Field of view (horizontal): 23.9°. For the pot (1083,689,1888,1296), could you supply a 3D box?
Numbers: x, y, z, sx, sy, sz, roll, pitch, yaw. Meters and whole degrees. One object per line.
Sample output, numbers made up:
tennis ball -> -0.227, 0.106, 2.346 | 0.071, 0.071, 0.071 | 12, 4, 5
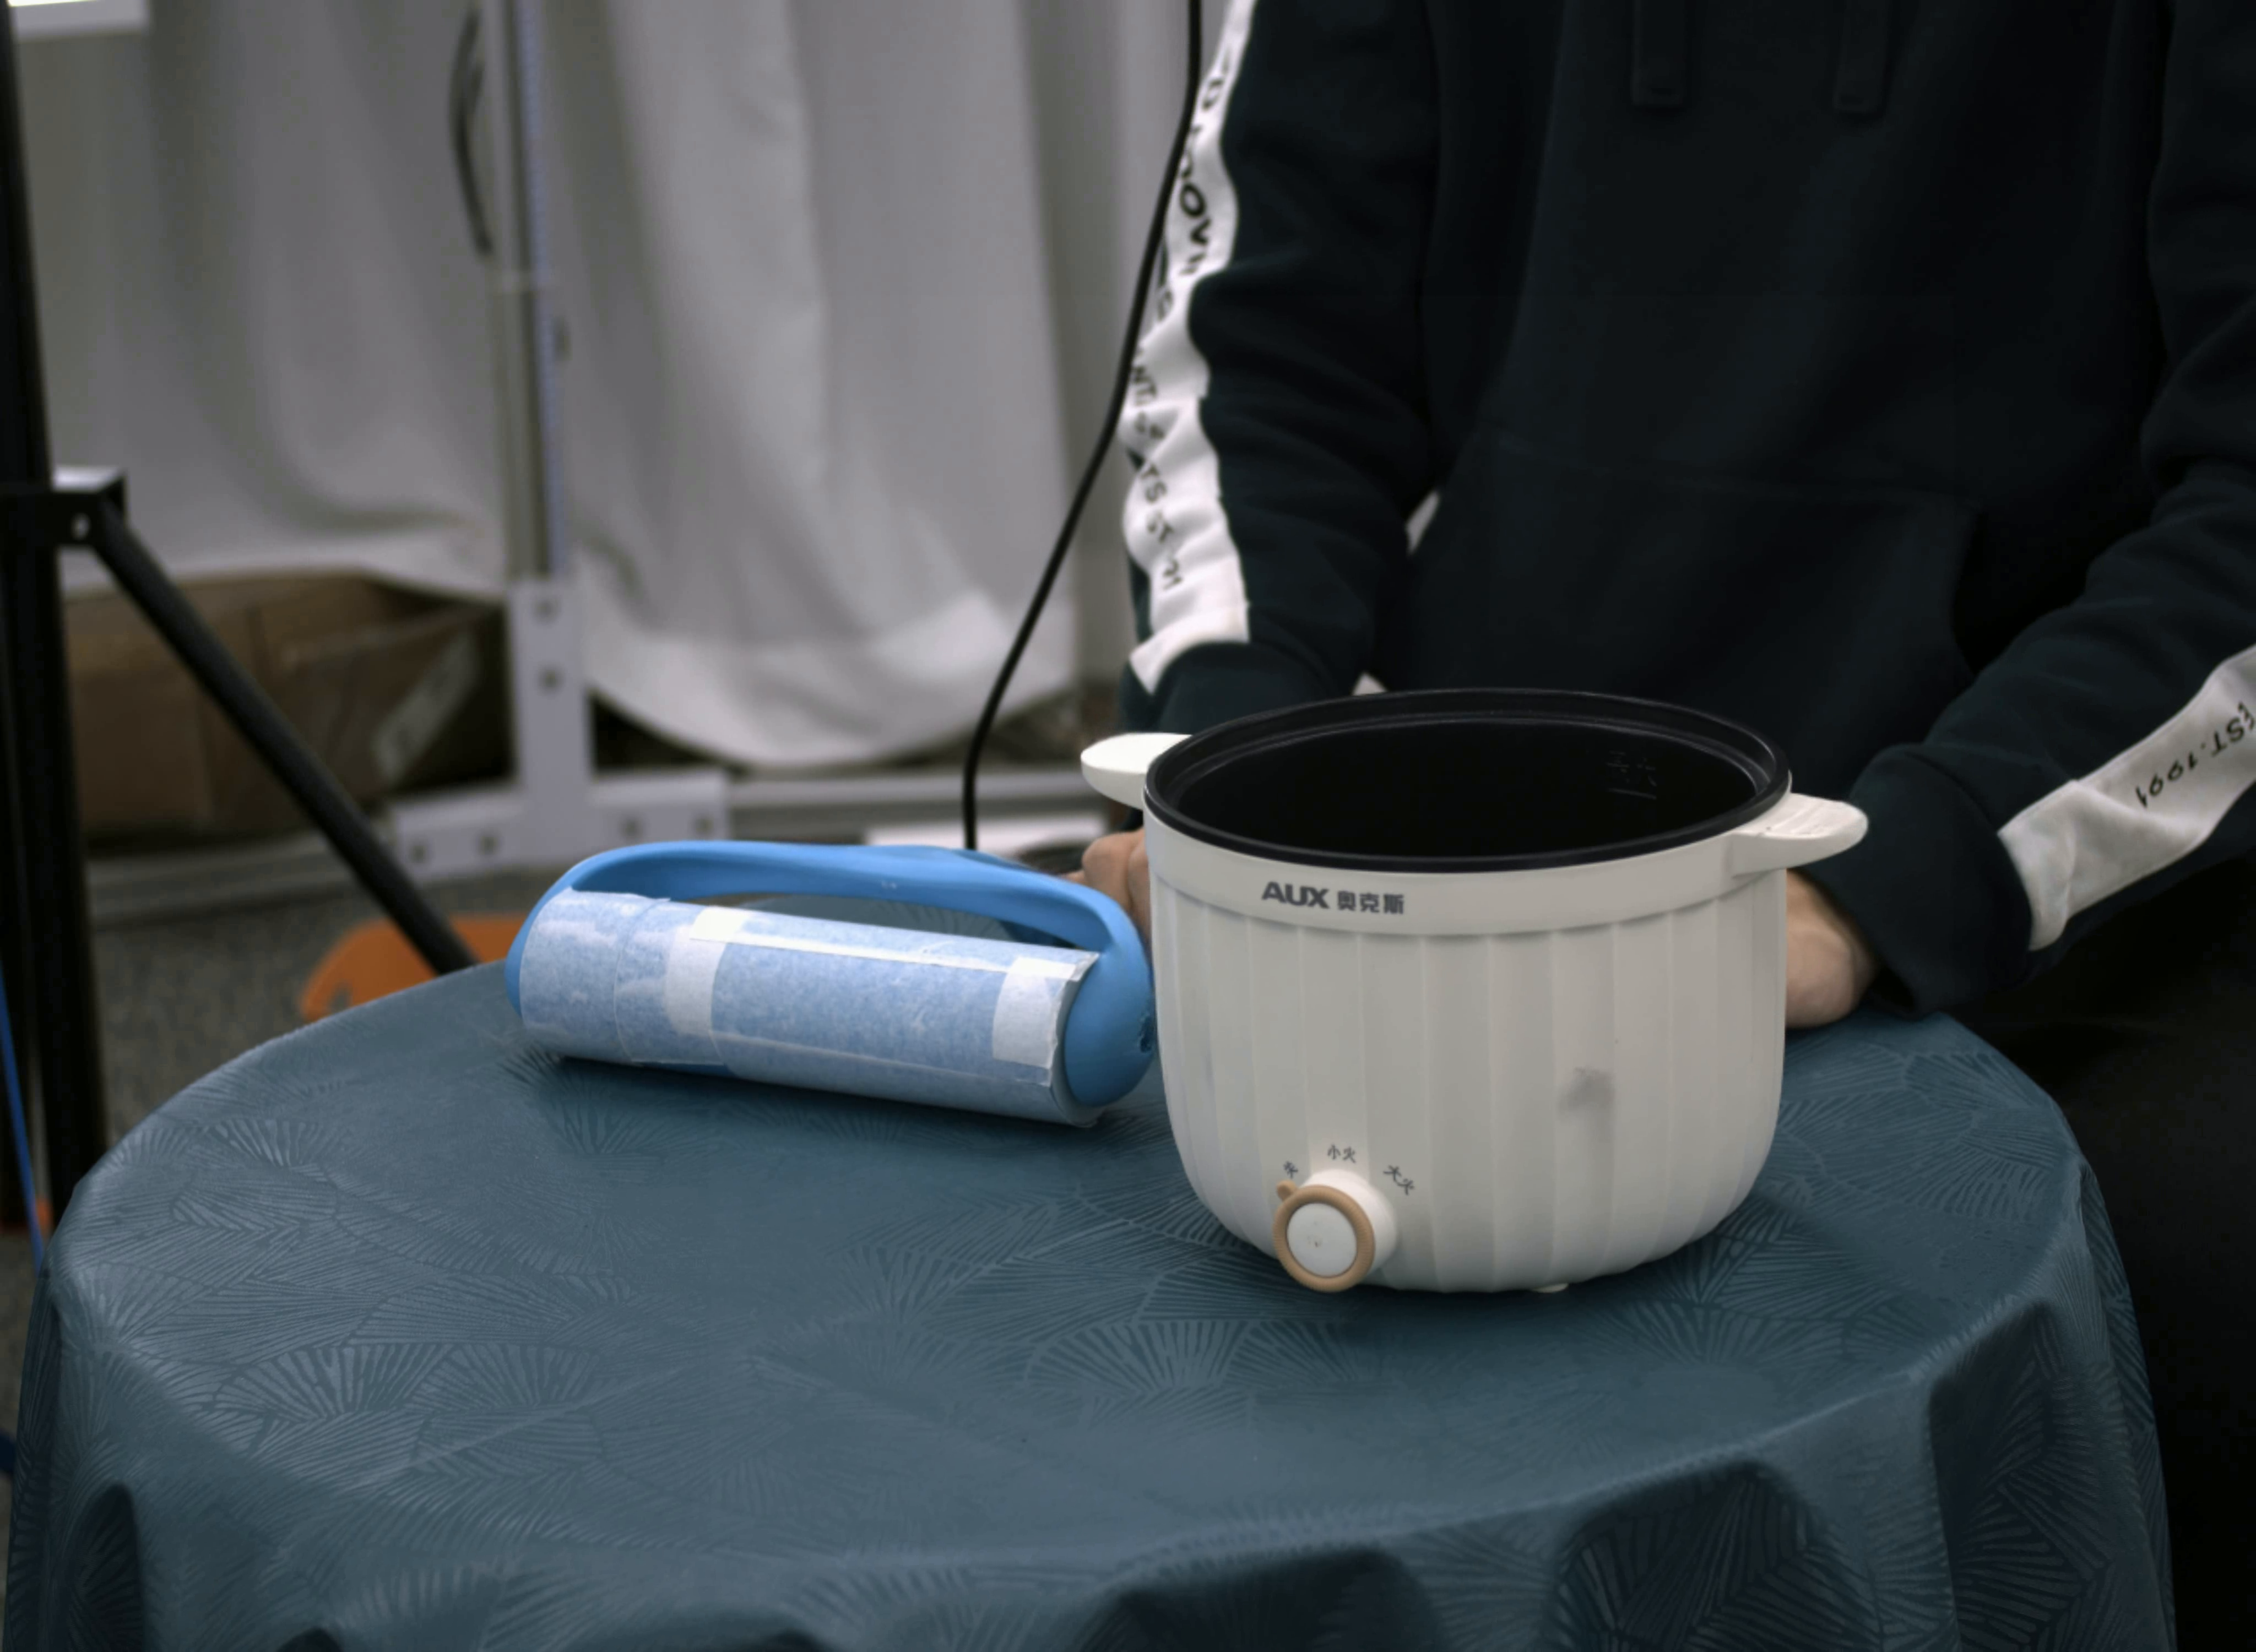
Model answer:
pot -> 0.097, 0.050, 1.492 | 0.244, 0.143, 0.187 | 4, 14, 28

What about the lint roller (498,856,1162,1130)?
lint roller -> -0.072, 0.041, 1.706 | 0.232, 0.068, 0.177 | 3, 17, 26
